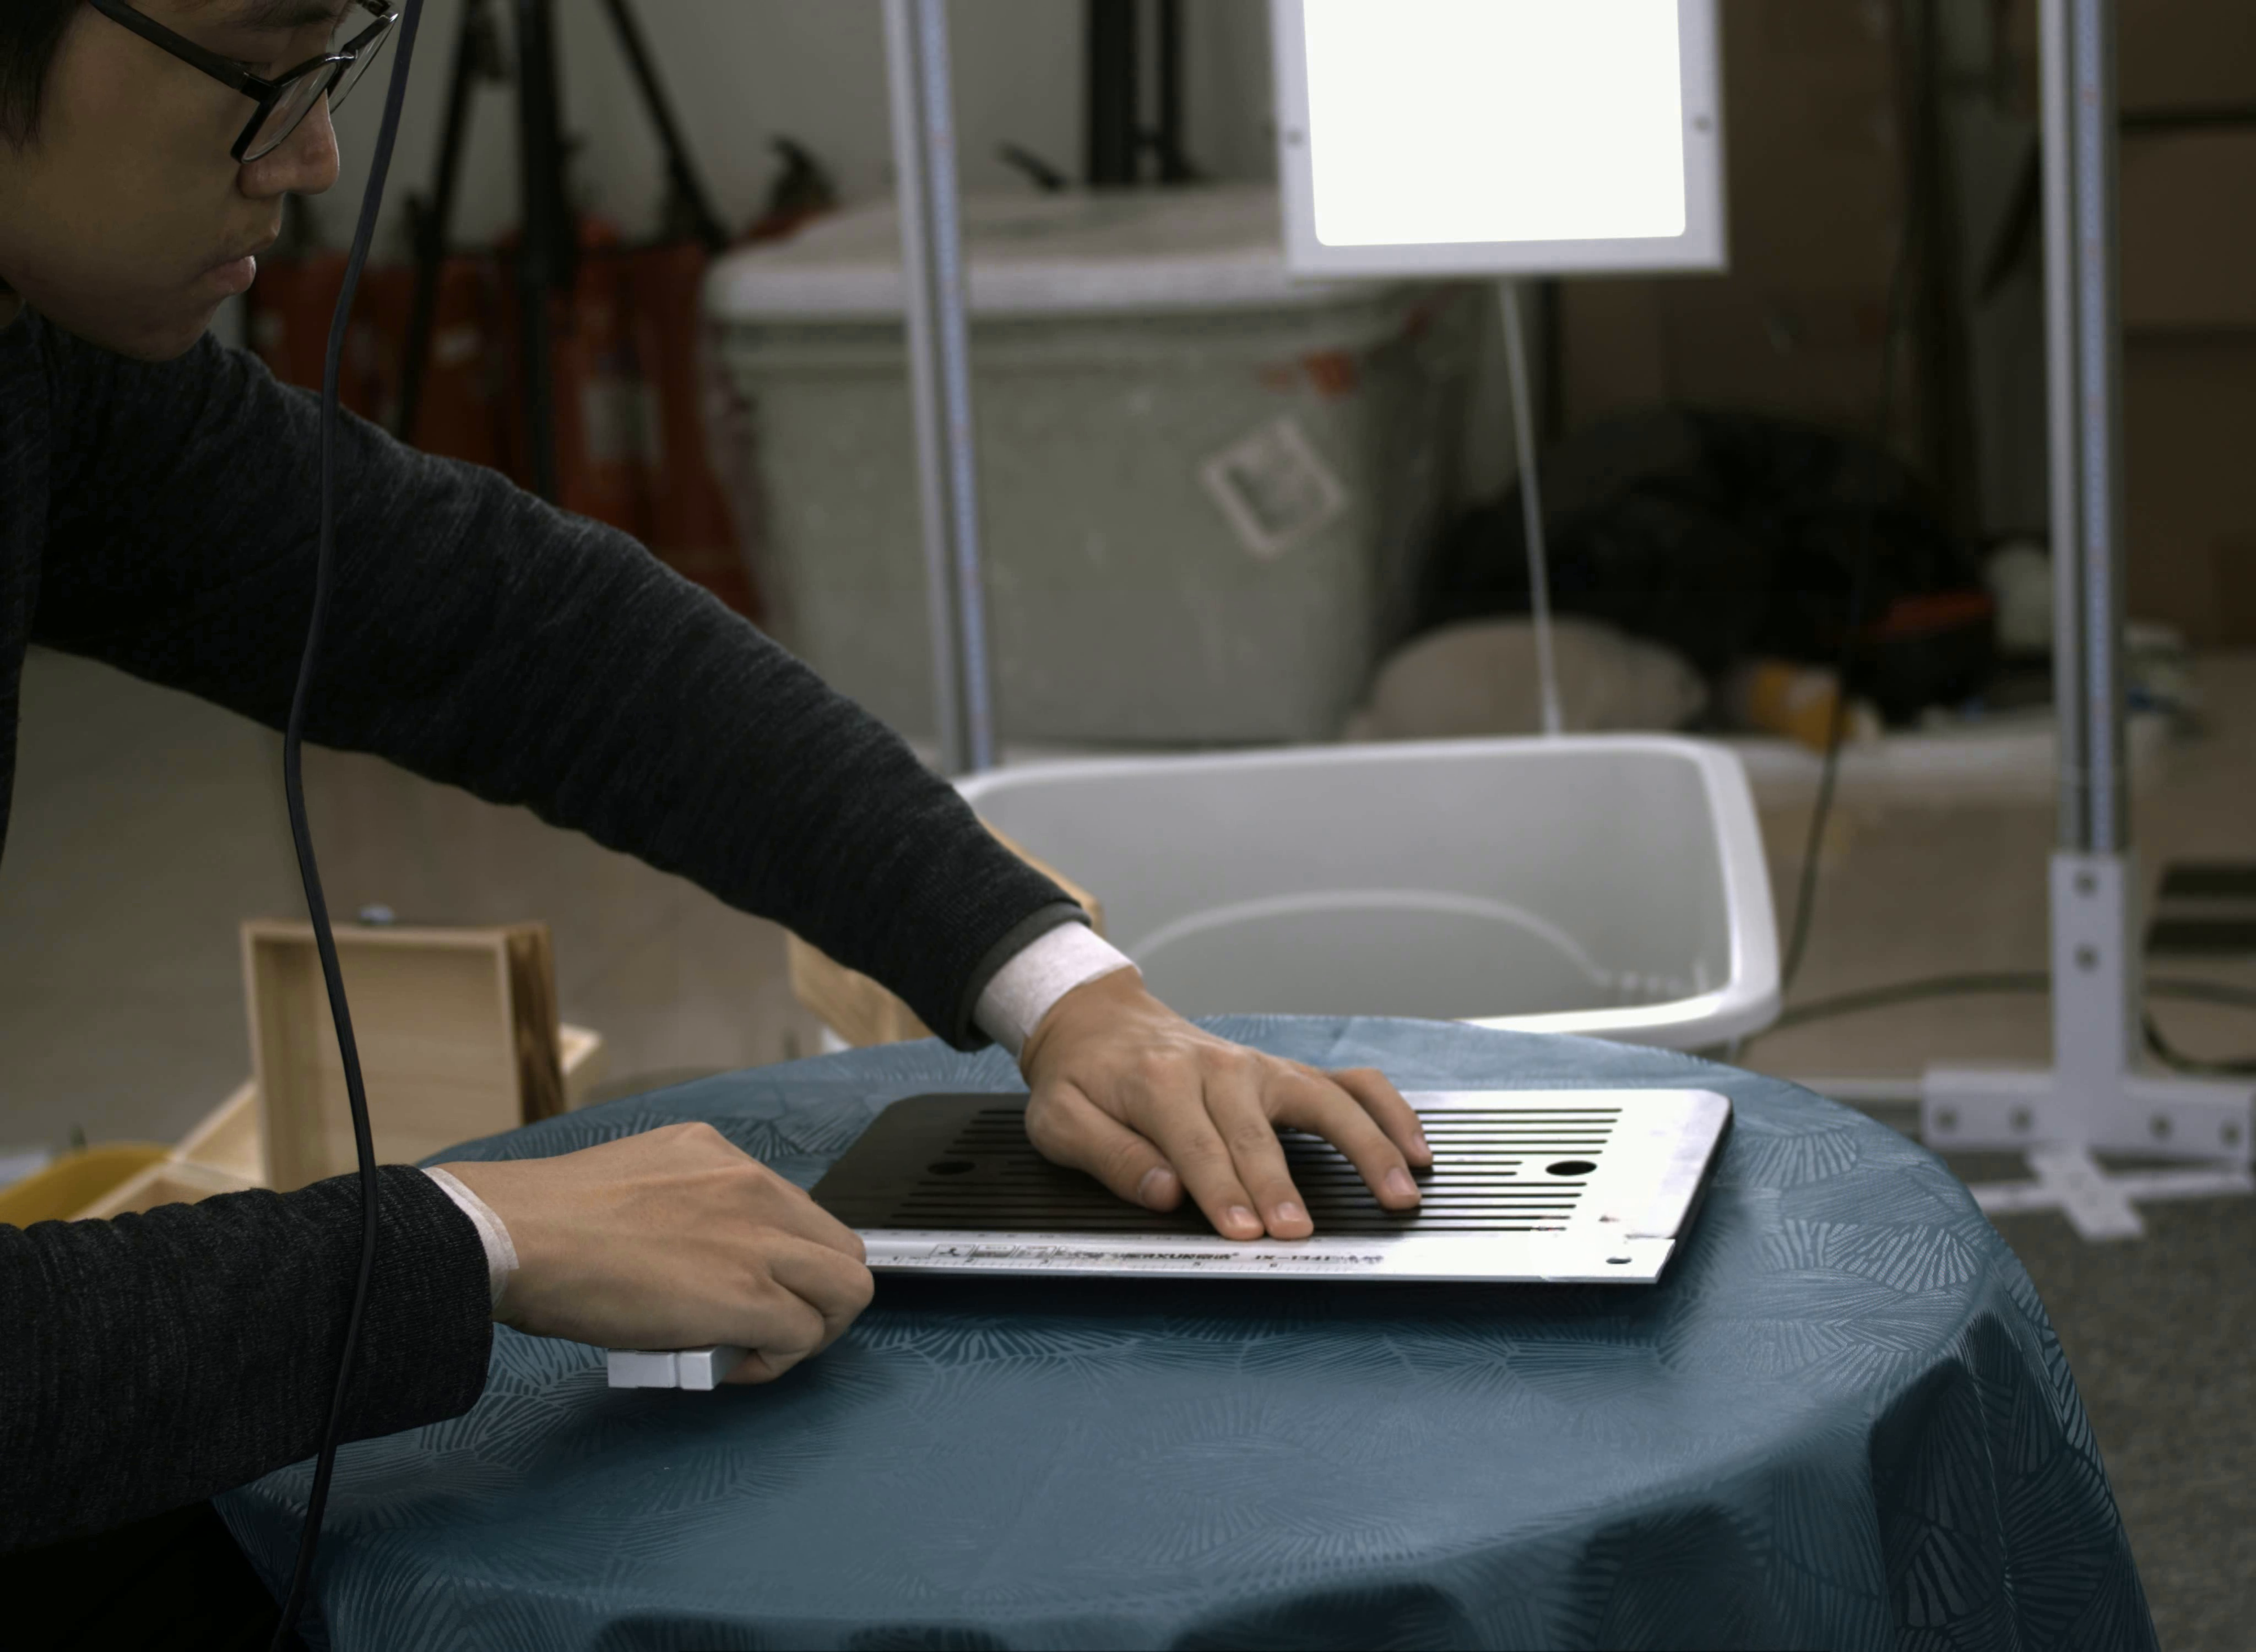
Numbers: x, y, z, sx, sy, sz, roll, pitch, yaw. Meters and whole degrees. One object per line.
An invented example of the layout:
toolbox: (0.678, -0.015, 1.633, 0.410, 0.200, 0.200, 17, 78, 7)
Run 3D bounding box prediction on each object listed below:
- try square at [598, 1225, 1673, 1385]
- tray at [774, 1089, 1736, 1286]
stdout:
try square: (0.004, 0.149, 1.721, 0.316, 0.016, 0.150, -1, 11, 17)
tray: (0.046, 0.122, 1.864, 0.309, 0.019, 0.168, -1, 15, 16)
